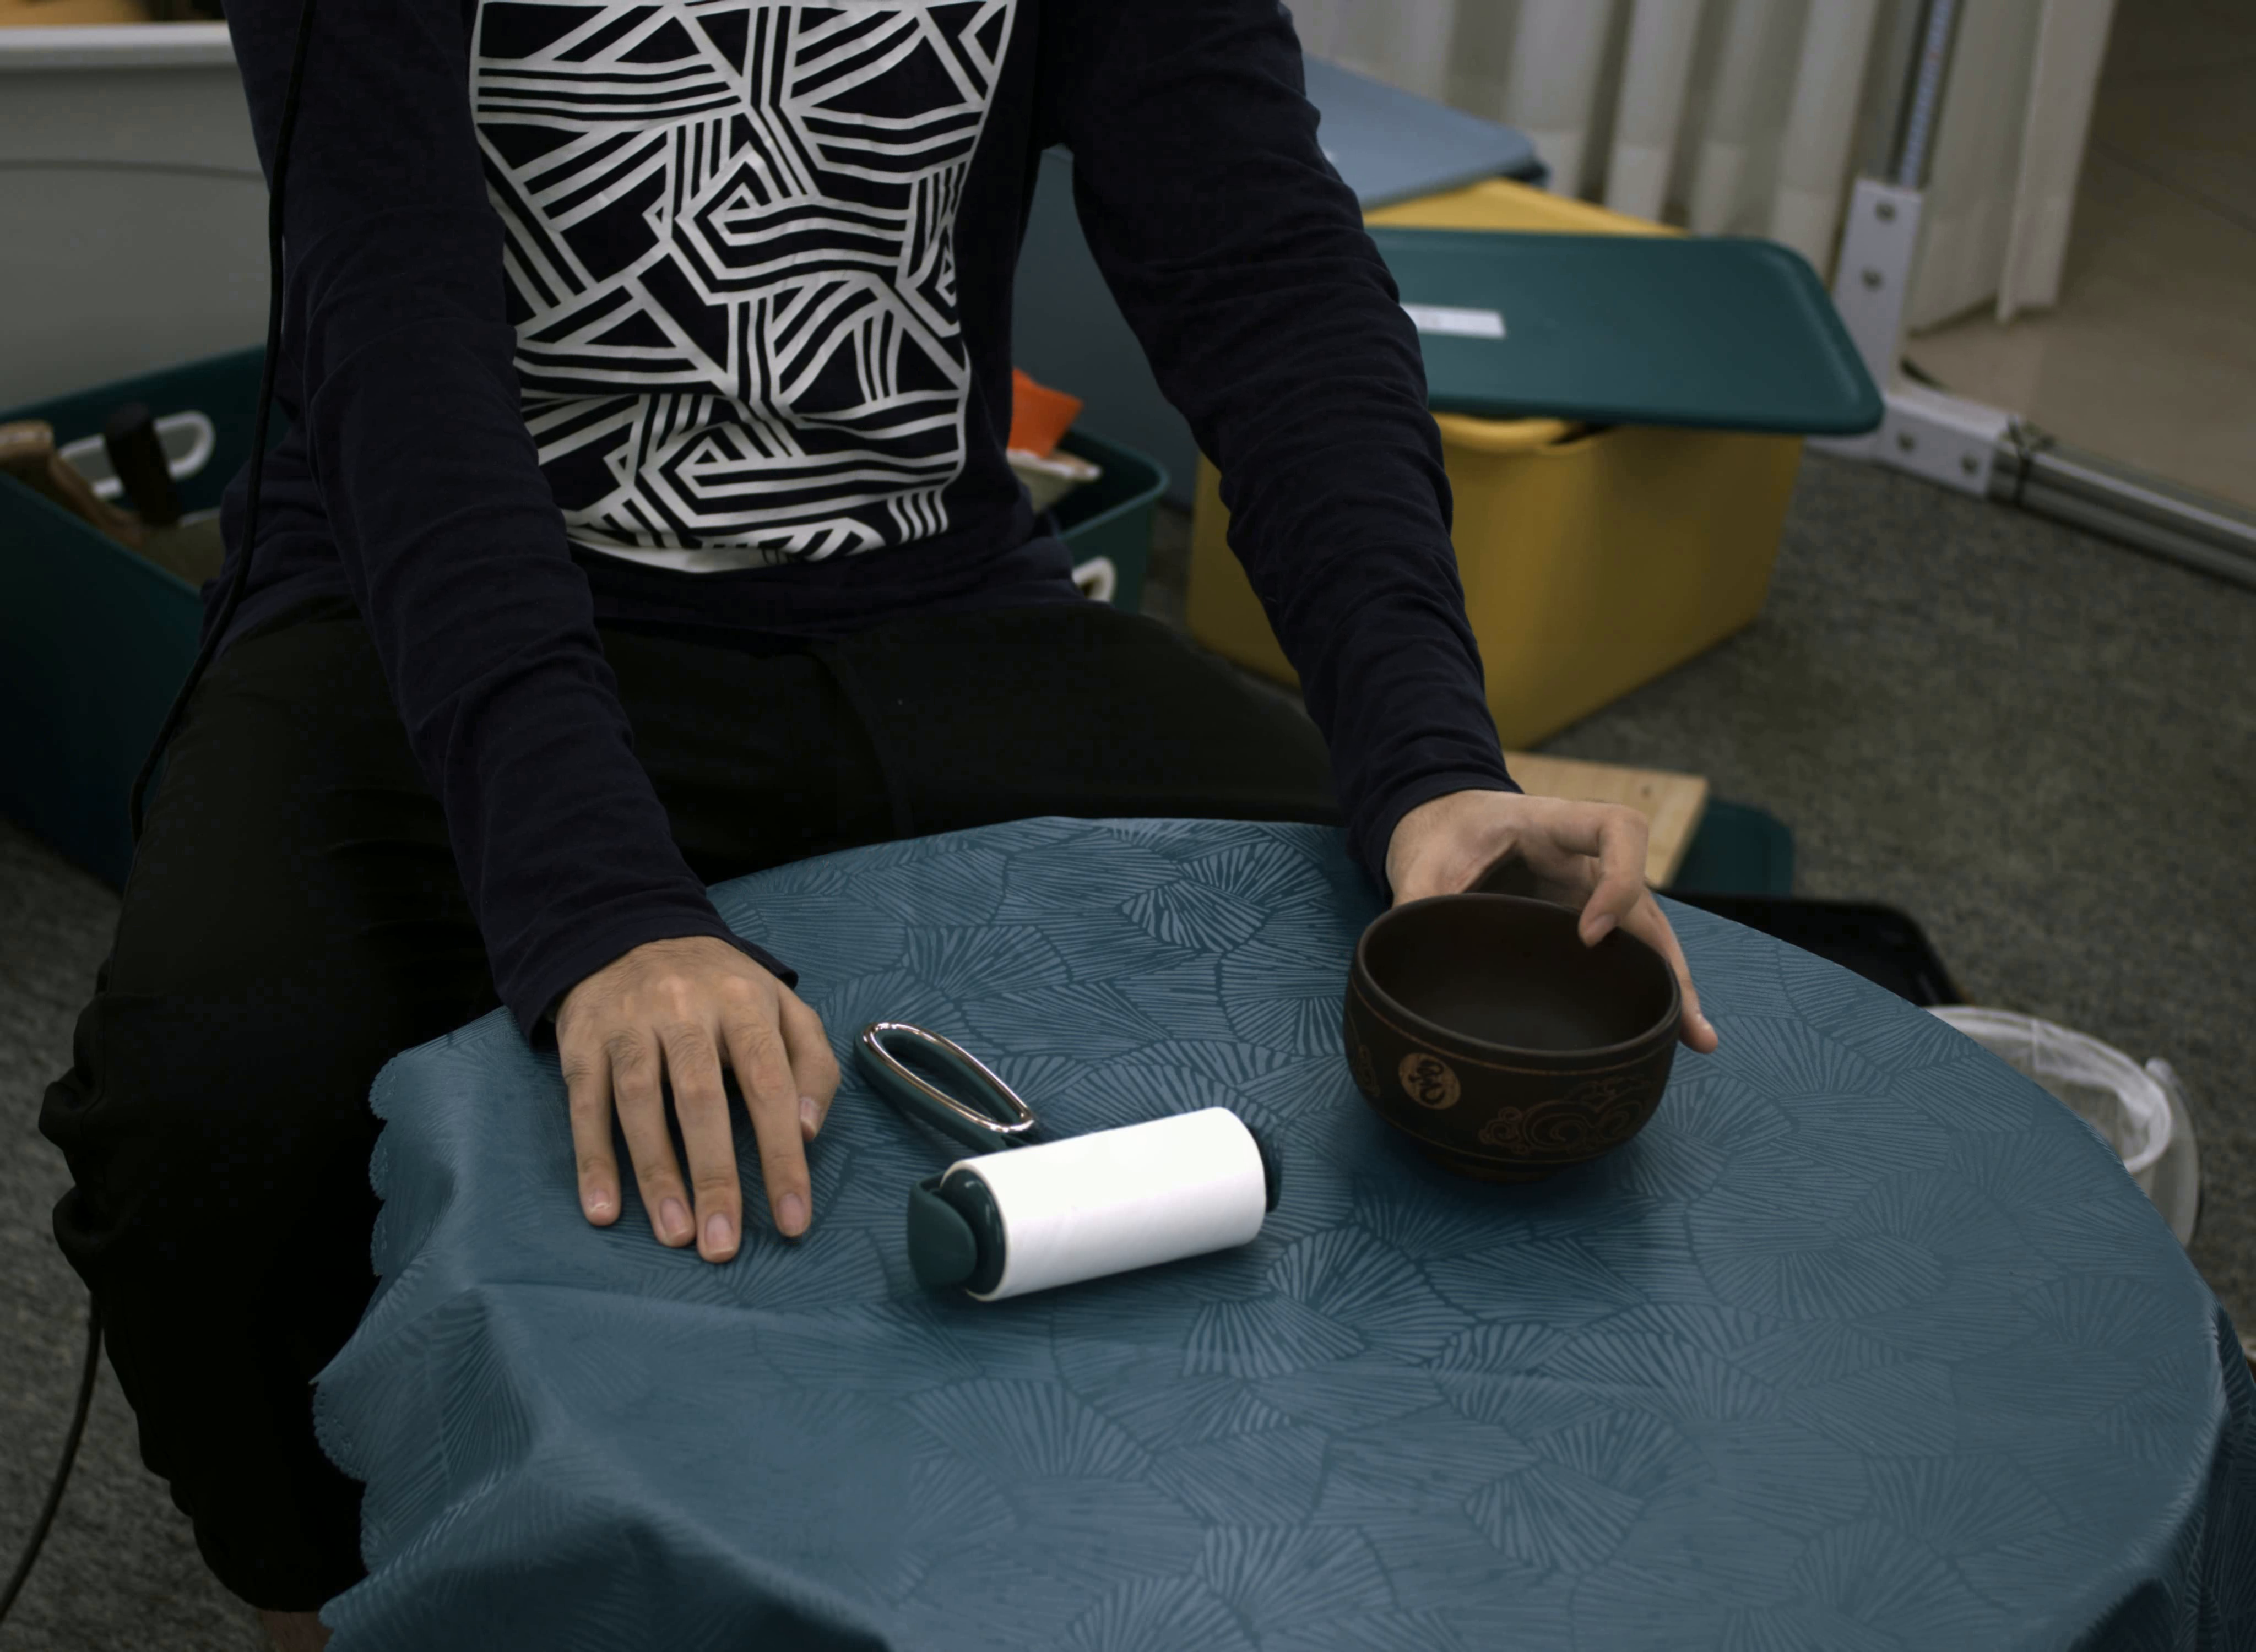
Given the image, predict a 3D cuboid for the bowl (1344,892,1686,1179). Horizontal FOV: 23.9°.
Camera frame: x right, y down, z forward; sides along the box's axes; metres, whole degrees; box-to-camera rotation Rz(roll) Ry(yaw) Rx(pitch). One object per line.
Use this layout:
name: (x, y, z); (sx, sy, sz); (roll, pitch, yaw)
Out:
bowl: (0.132, 0.079, 1.844); (0.117, 0.069, 0.119); (3, 26, -2)

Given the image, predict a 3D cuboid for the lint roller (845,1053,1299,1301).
lint roller: (-0.044, 0.098, 1.802); (0.133, 0.048, 0.182); (-10, 28, -30)
